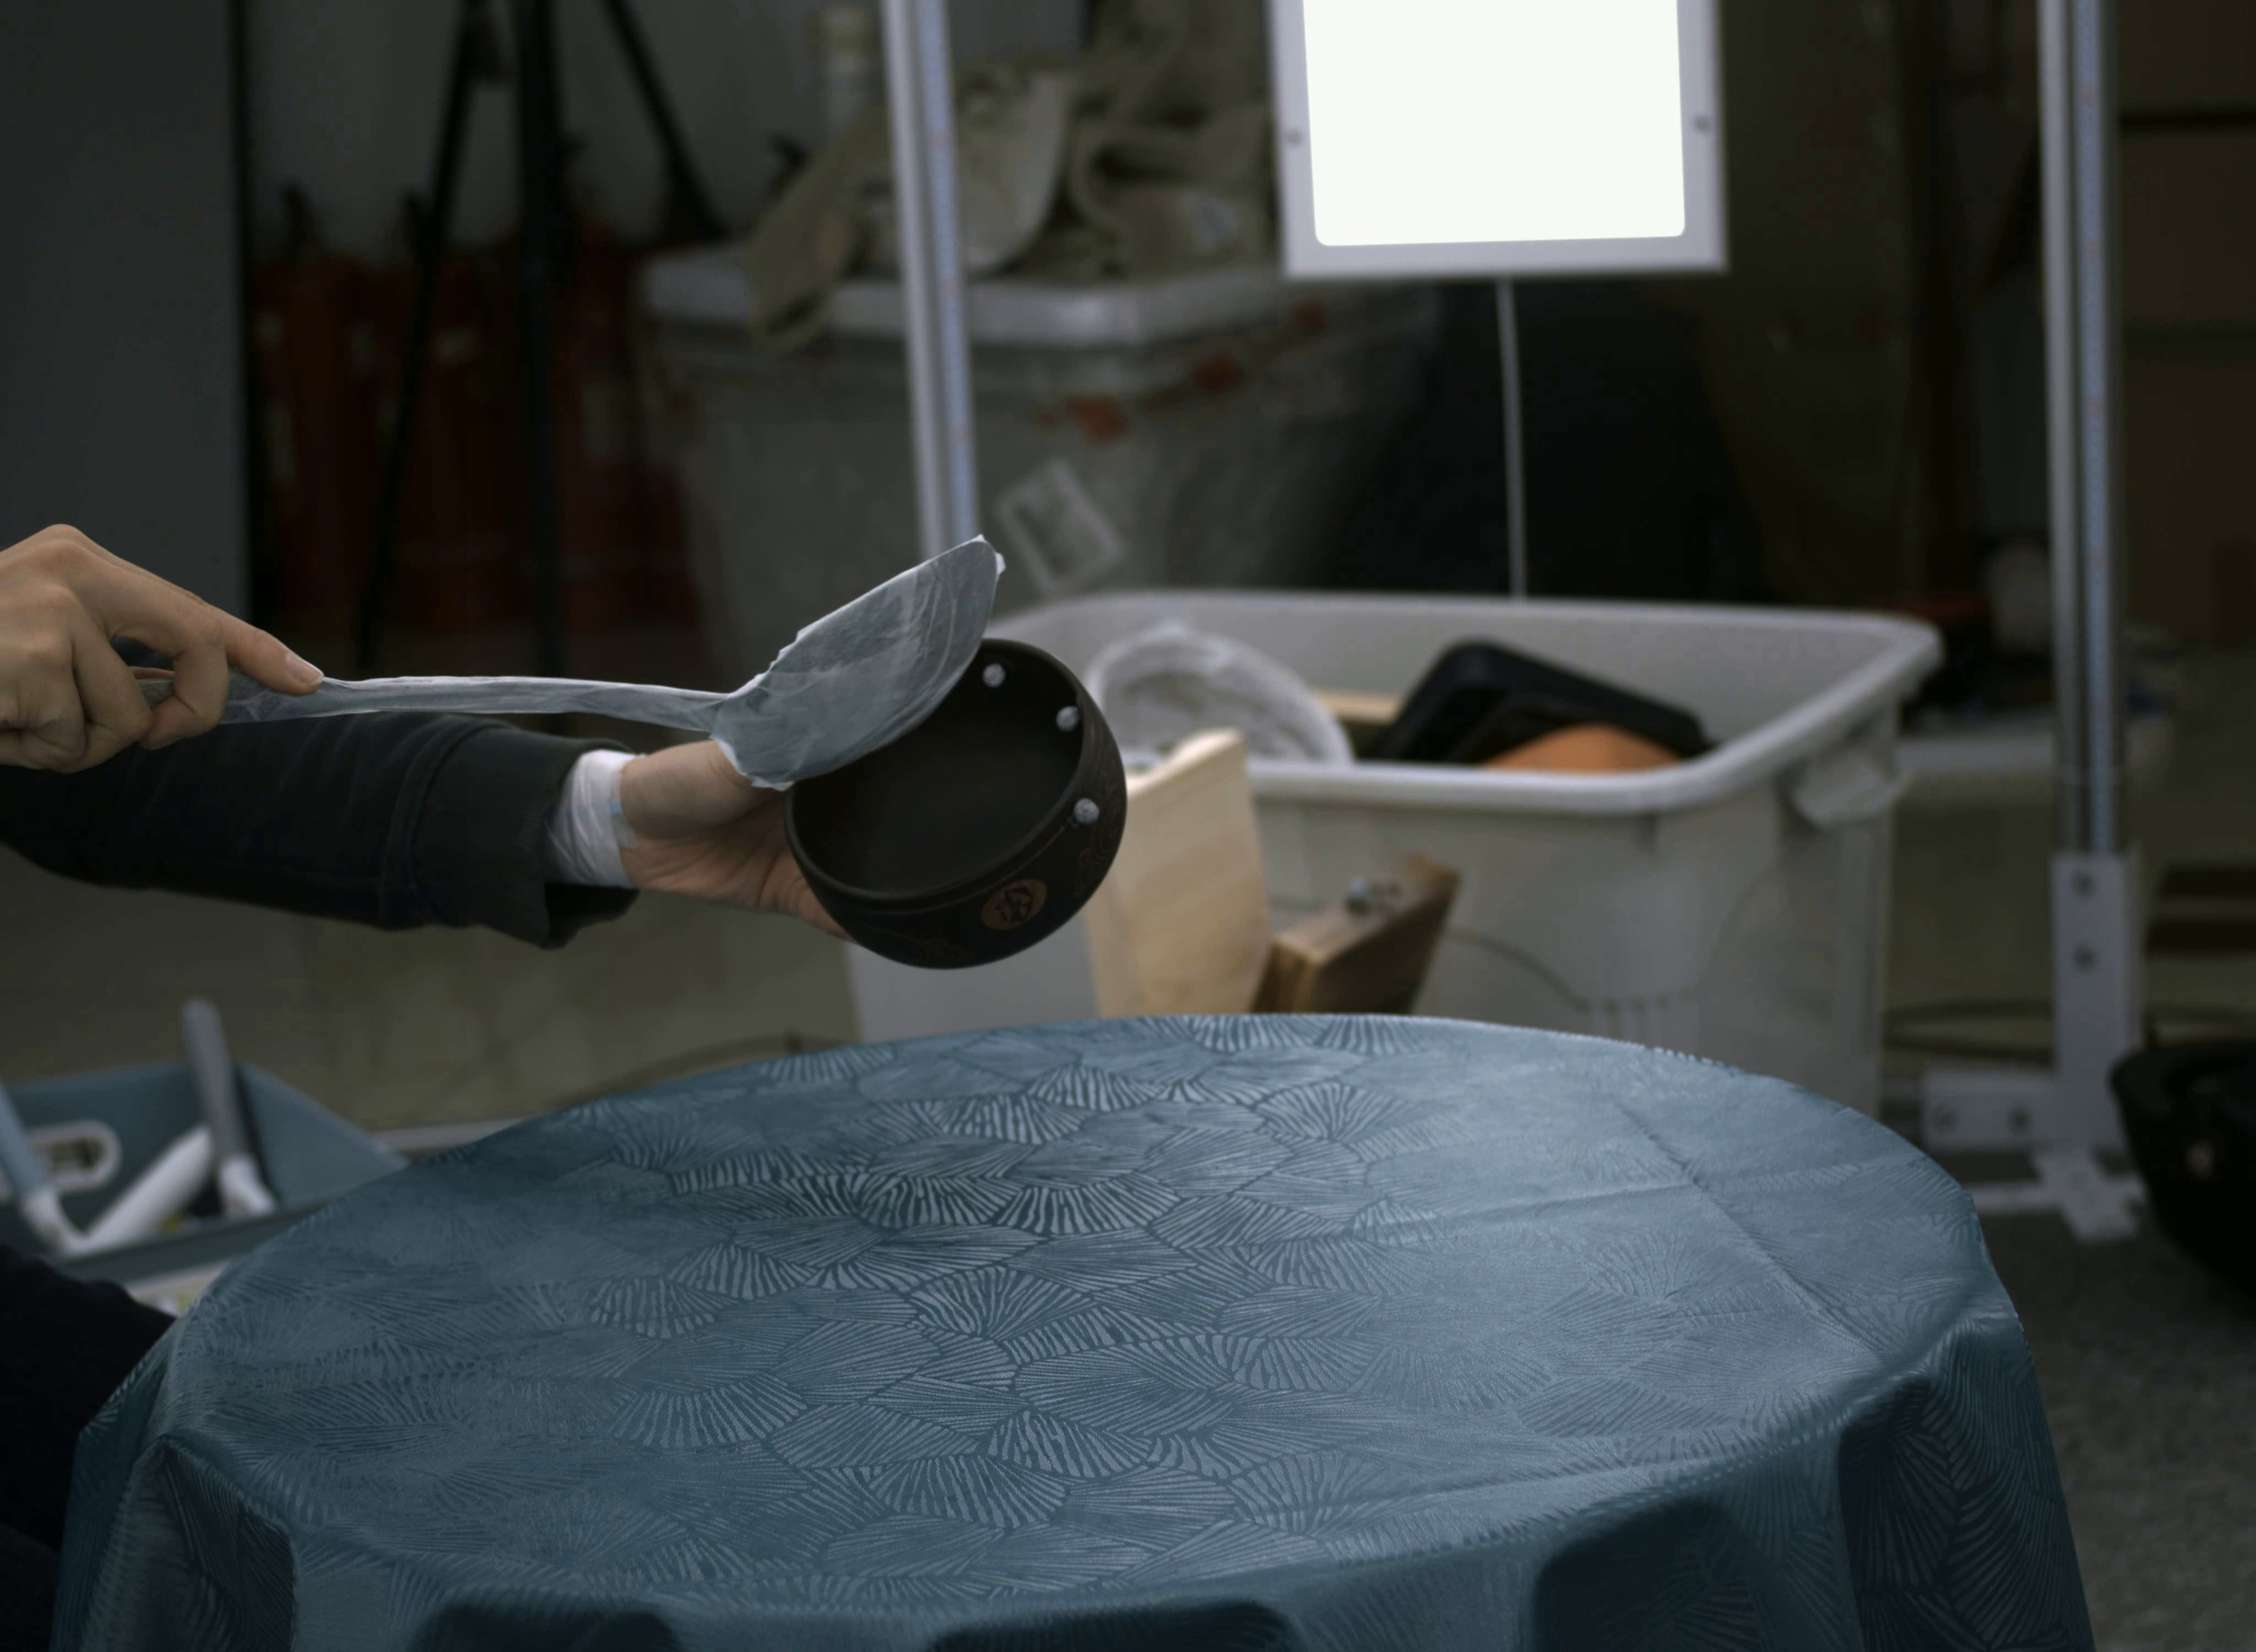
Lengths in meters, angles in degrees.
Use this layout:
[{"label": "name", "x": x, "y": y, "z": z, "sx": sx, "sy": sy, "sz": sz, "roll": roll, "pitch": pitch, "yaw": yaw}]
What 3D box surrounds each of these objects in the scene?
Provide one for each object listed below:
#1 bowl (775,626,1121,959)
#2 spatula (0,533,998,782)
[{"label": "bowl", "x": -0.056, "y": -0.003, "z": 1.891, "sx": 0.119, "sy": 0.069, "sz": 0.118, "roll": -17, "pitch": 44, "yaw": 15}, {"label": "spatula", "x": -0.206, "y": -0.043, "z": 1.742, "sx": 0.358, "sy": 0.100, "sz": 0.045, "roll": -3, "pitch": 52, "yaw": -22}]
